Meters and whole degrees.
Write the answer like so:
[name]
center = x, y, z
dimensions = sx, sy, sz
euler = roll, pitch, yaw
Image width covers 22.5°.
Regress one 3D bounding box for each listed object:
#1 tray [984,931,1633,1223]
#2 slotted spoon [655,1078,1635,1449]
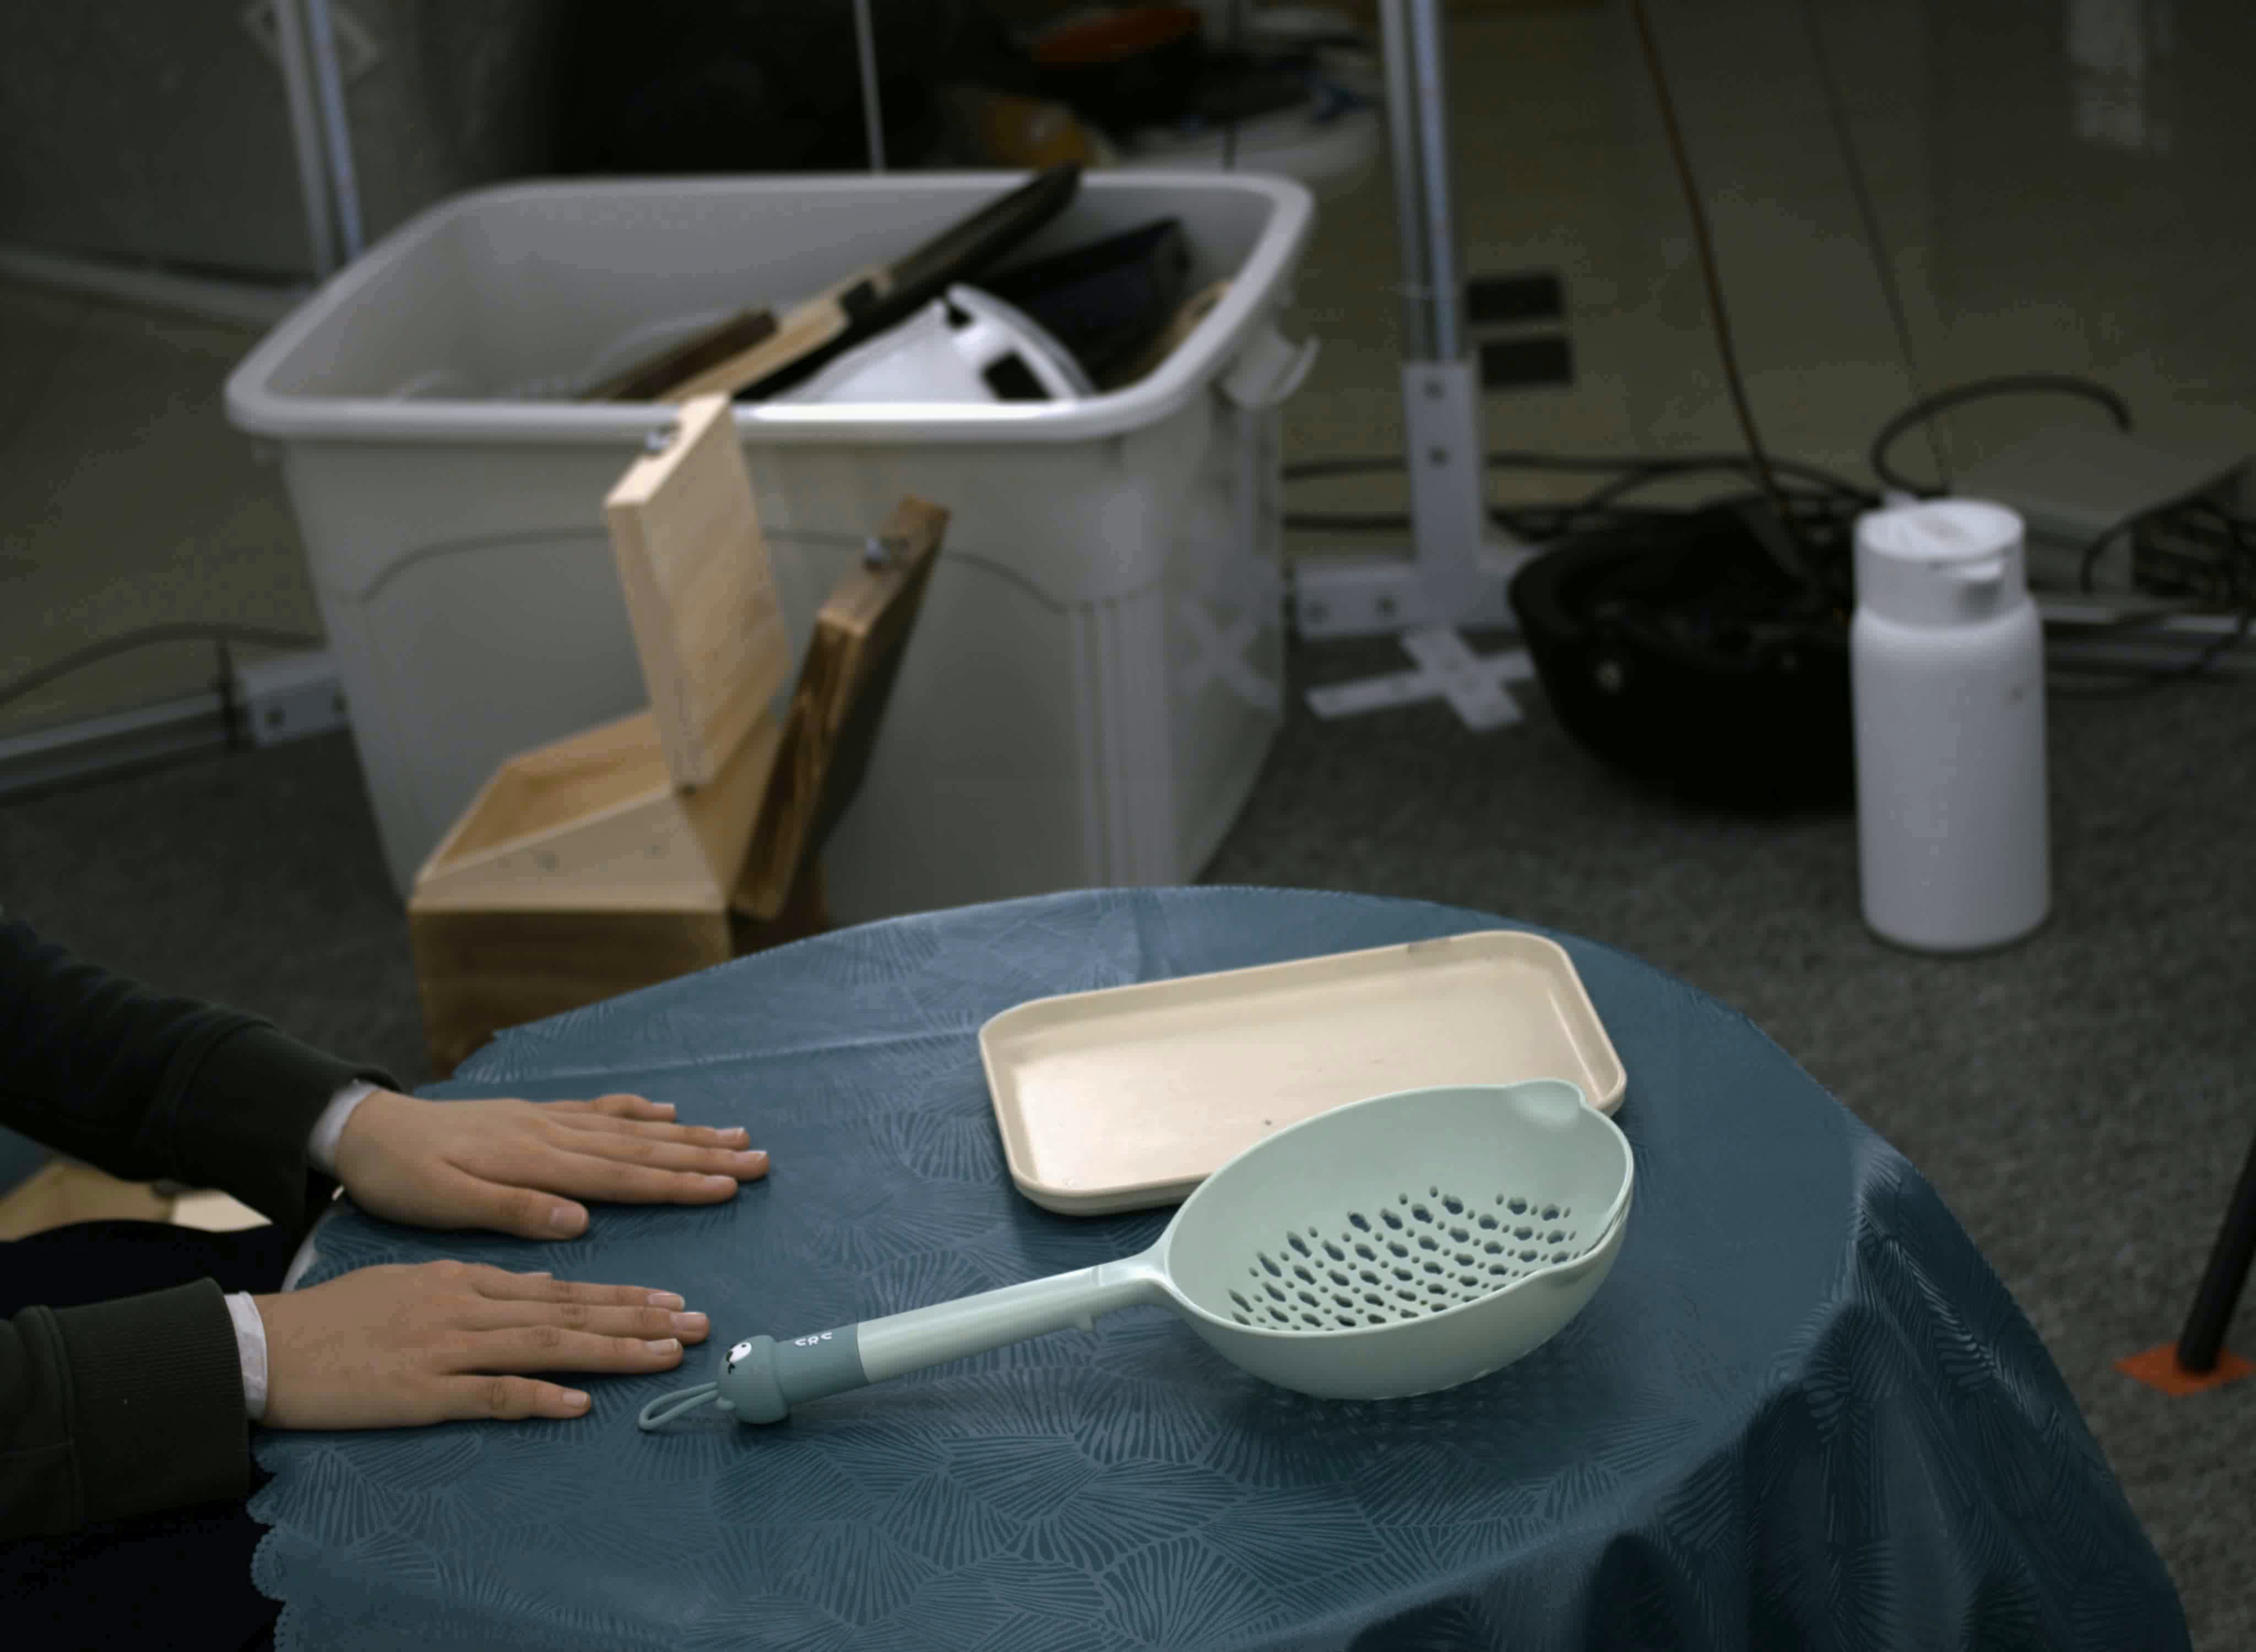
[tray]
center = 0.068, 0.098, 2.205
dimensions = 0.239, 0.018, 0.169
euler = -9, 25, -4
[slotted spoon]
center = 0.004, 0.169, 2.014
dimensions = 0.358, 0.076, 0.167
euler = -6, 24, 2
